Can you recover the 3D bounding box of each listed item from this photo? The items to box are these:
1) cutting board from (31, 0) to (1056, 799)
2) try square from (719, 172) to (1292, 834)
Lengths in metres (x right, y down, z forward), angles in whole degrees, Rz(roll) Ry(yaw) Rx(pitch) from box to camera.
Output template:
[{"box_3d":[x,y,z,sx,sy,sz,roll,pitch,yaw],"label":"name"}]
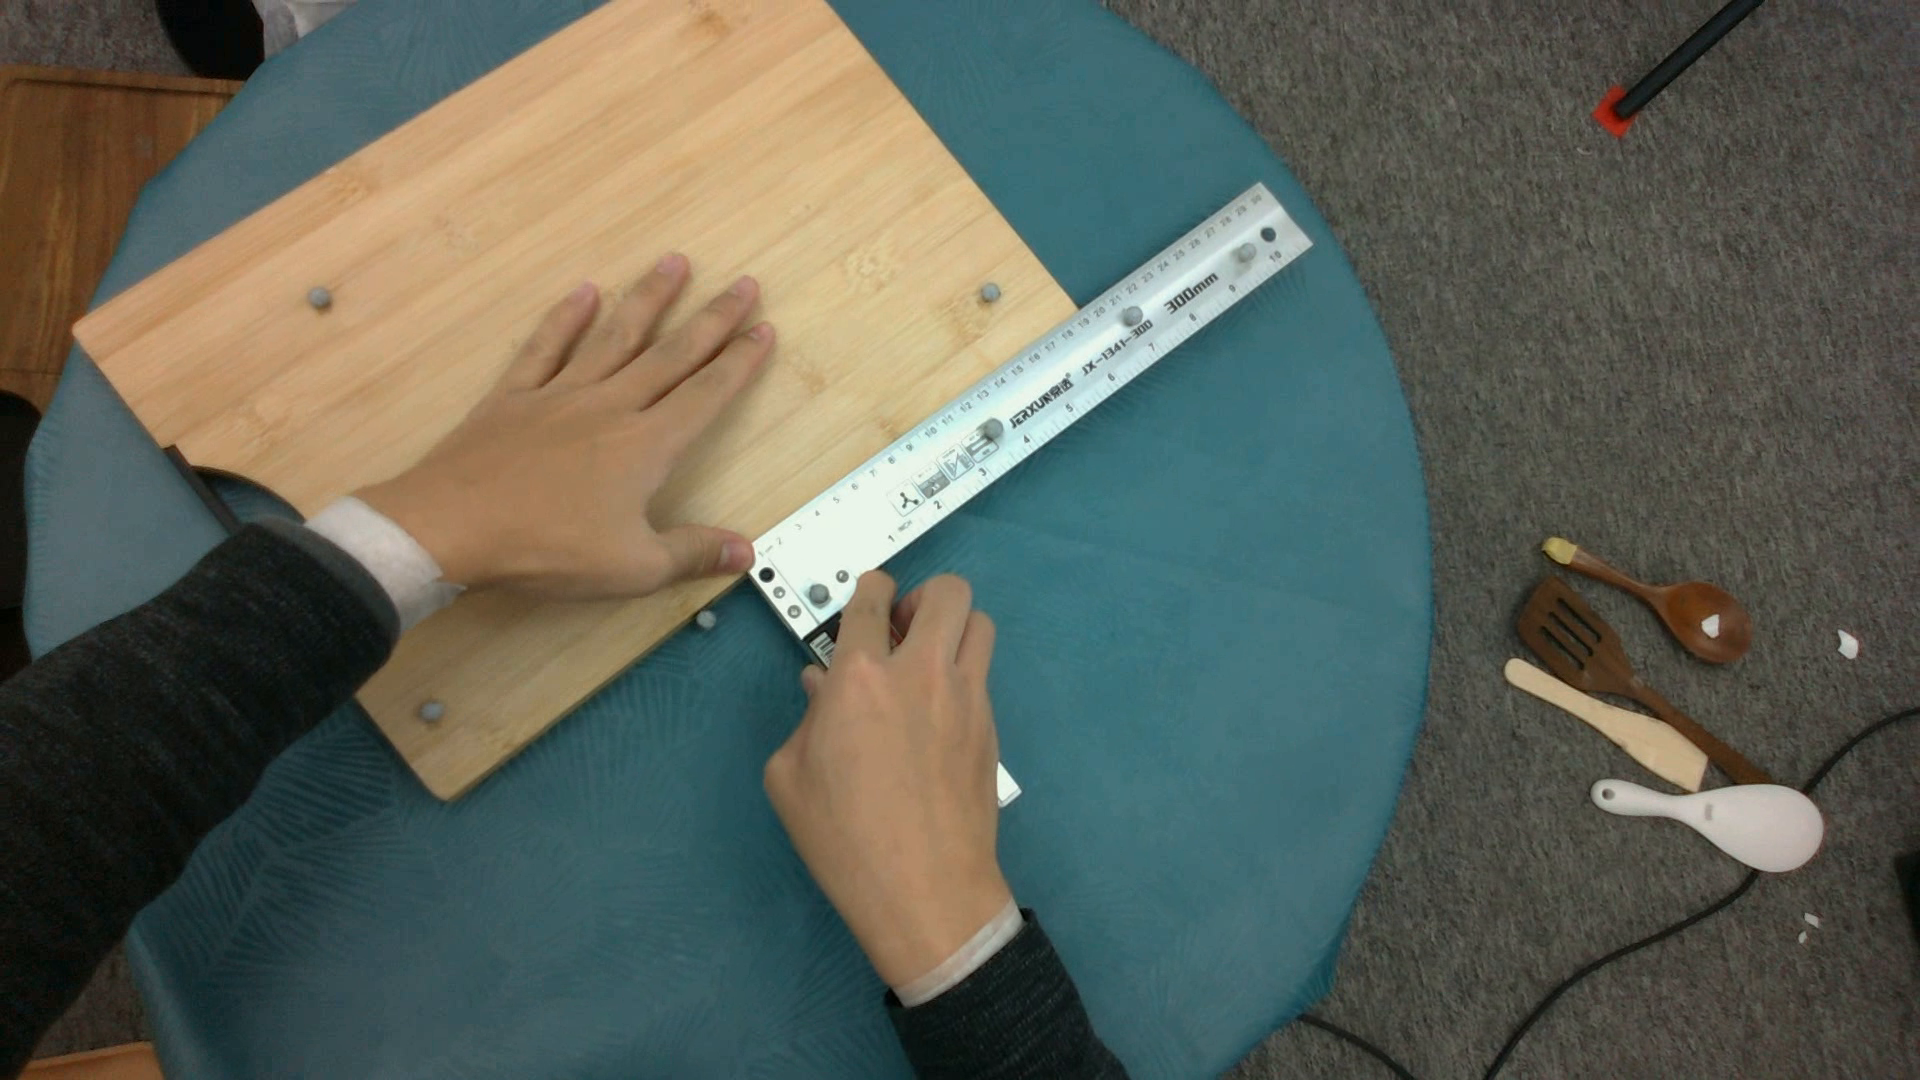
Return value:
[{"box_3d":[-0.158,-0.094,0.591,0.349,0.023,0.251,-40,87,-18],"label":"cutting board"},{"box_3d":[0.062,-0.028,0.610,0.314,0.016,0.152,-37,86,-17],"label":"try square"}]
